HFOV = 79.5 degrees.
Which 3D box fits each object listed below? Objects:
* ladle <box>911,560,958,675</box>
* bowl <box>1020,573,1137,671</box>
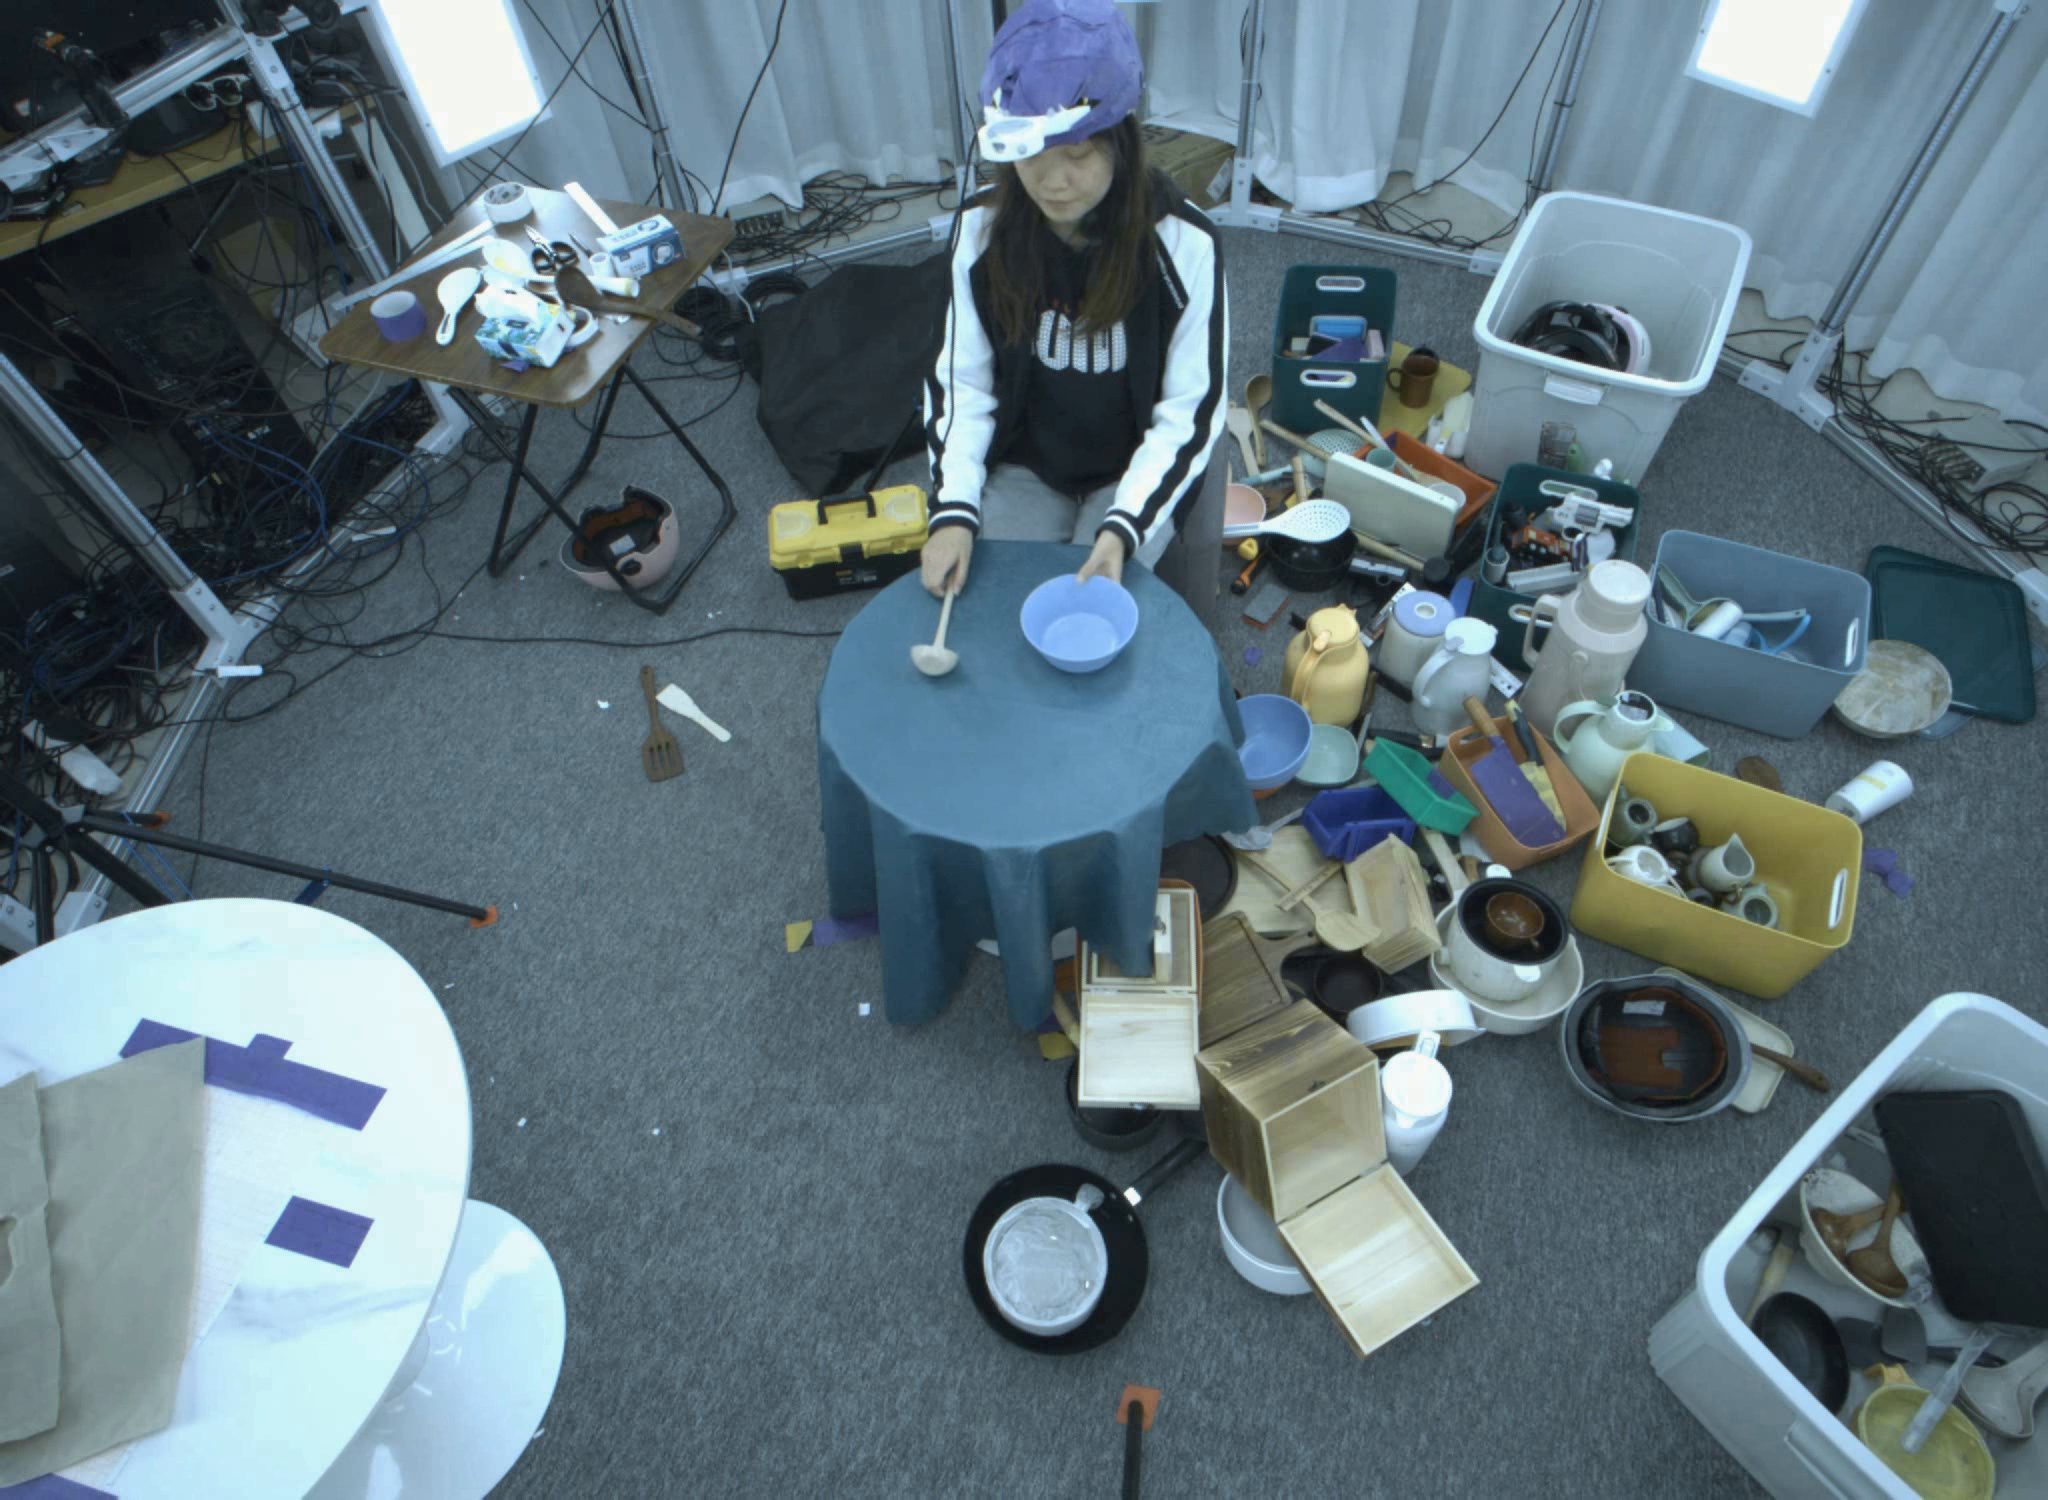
[{"bbox_3d":[-0.127,-0.227,1.905,0.072,0.073,0.252,7,56,-1],"label":"ladle"},{"bbox_3d":[0.082,-0.184,1.872,0.176,0.071,0.174,0,55,1],"label":"bowl"}]
